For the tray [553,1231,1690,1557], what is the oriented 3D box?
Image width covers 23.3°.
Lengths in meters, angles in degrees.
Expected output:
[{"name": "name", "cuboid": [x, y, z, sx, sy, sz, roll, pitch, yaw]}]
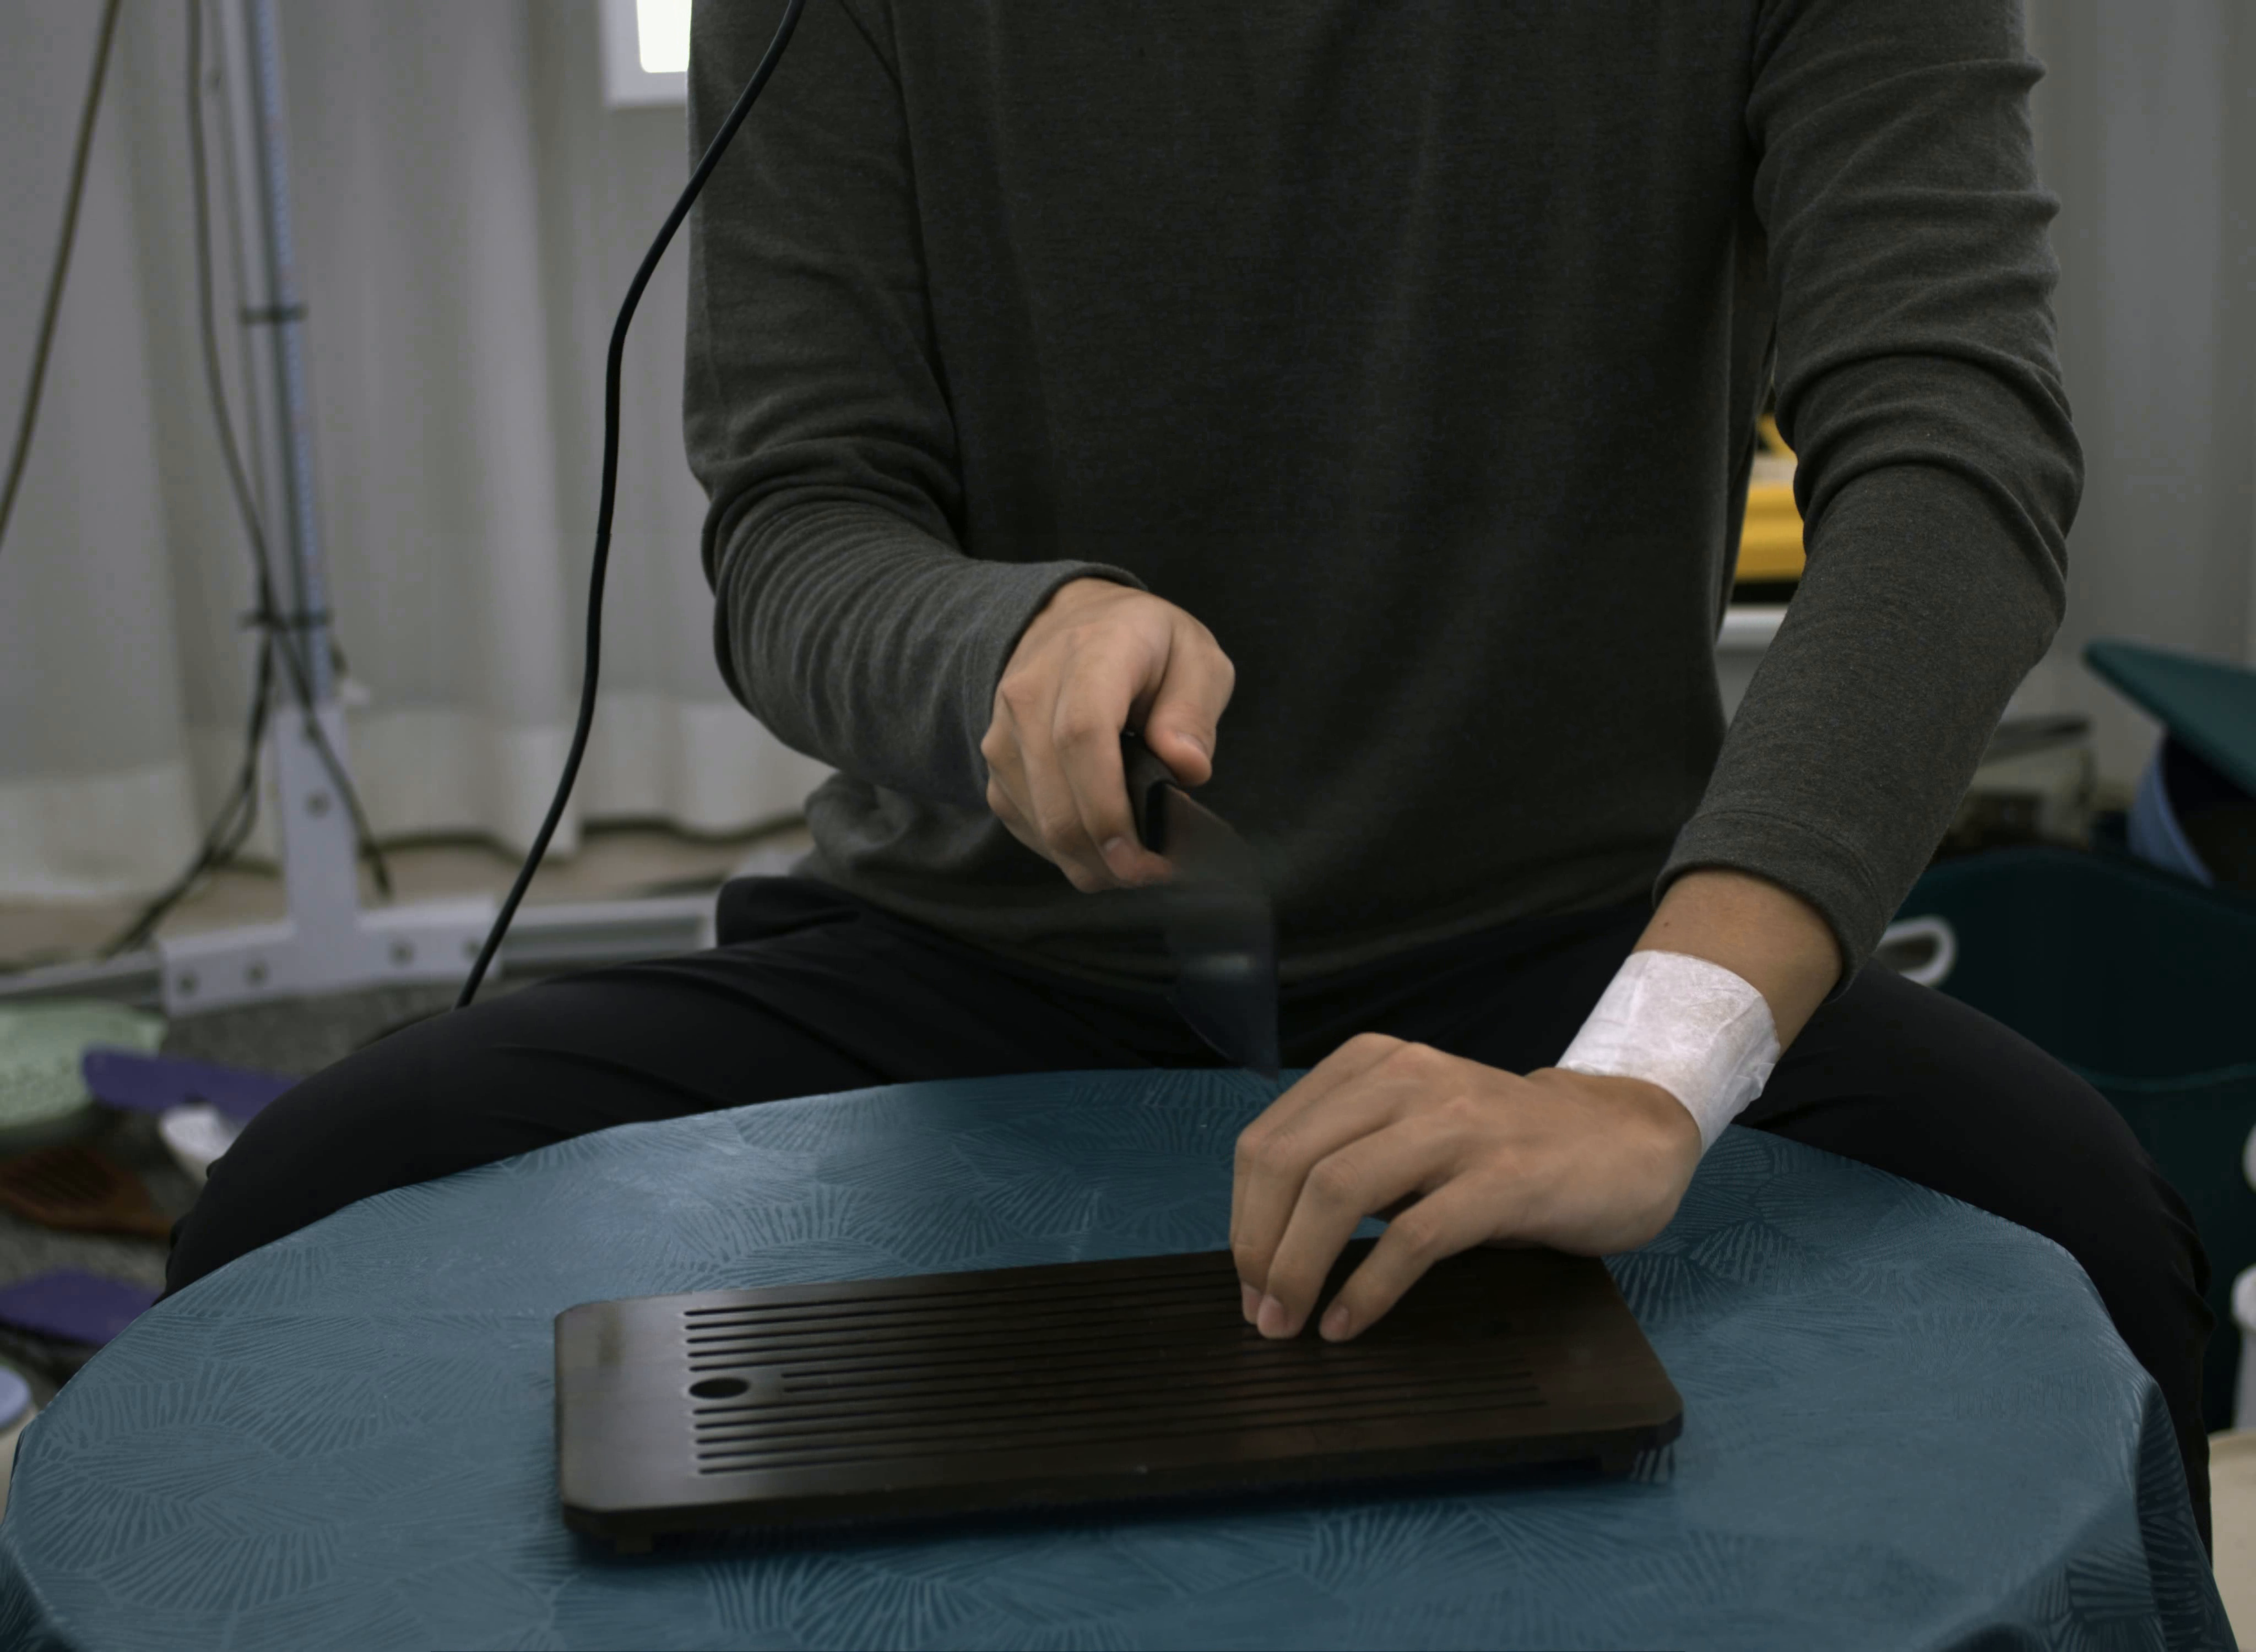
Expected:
[{"name": "tray", "cuboid": [-0.007, 0.157, 1.523, 0.305, 0.018, 0.171, -4, 14, -5]}]

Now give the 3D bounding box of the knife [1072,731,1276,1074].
[{"name": "knife", "cuboid": [0.014, 0.016, 1.551, 0.021, 0.081, 0.304, -2, 11, -8]}]
